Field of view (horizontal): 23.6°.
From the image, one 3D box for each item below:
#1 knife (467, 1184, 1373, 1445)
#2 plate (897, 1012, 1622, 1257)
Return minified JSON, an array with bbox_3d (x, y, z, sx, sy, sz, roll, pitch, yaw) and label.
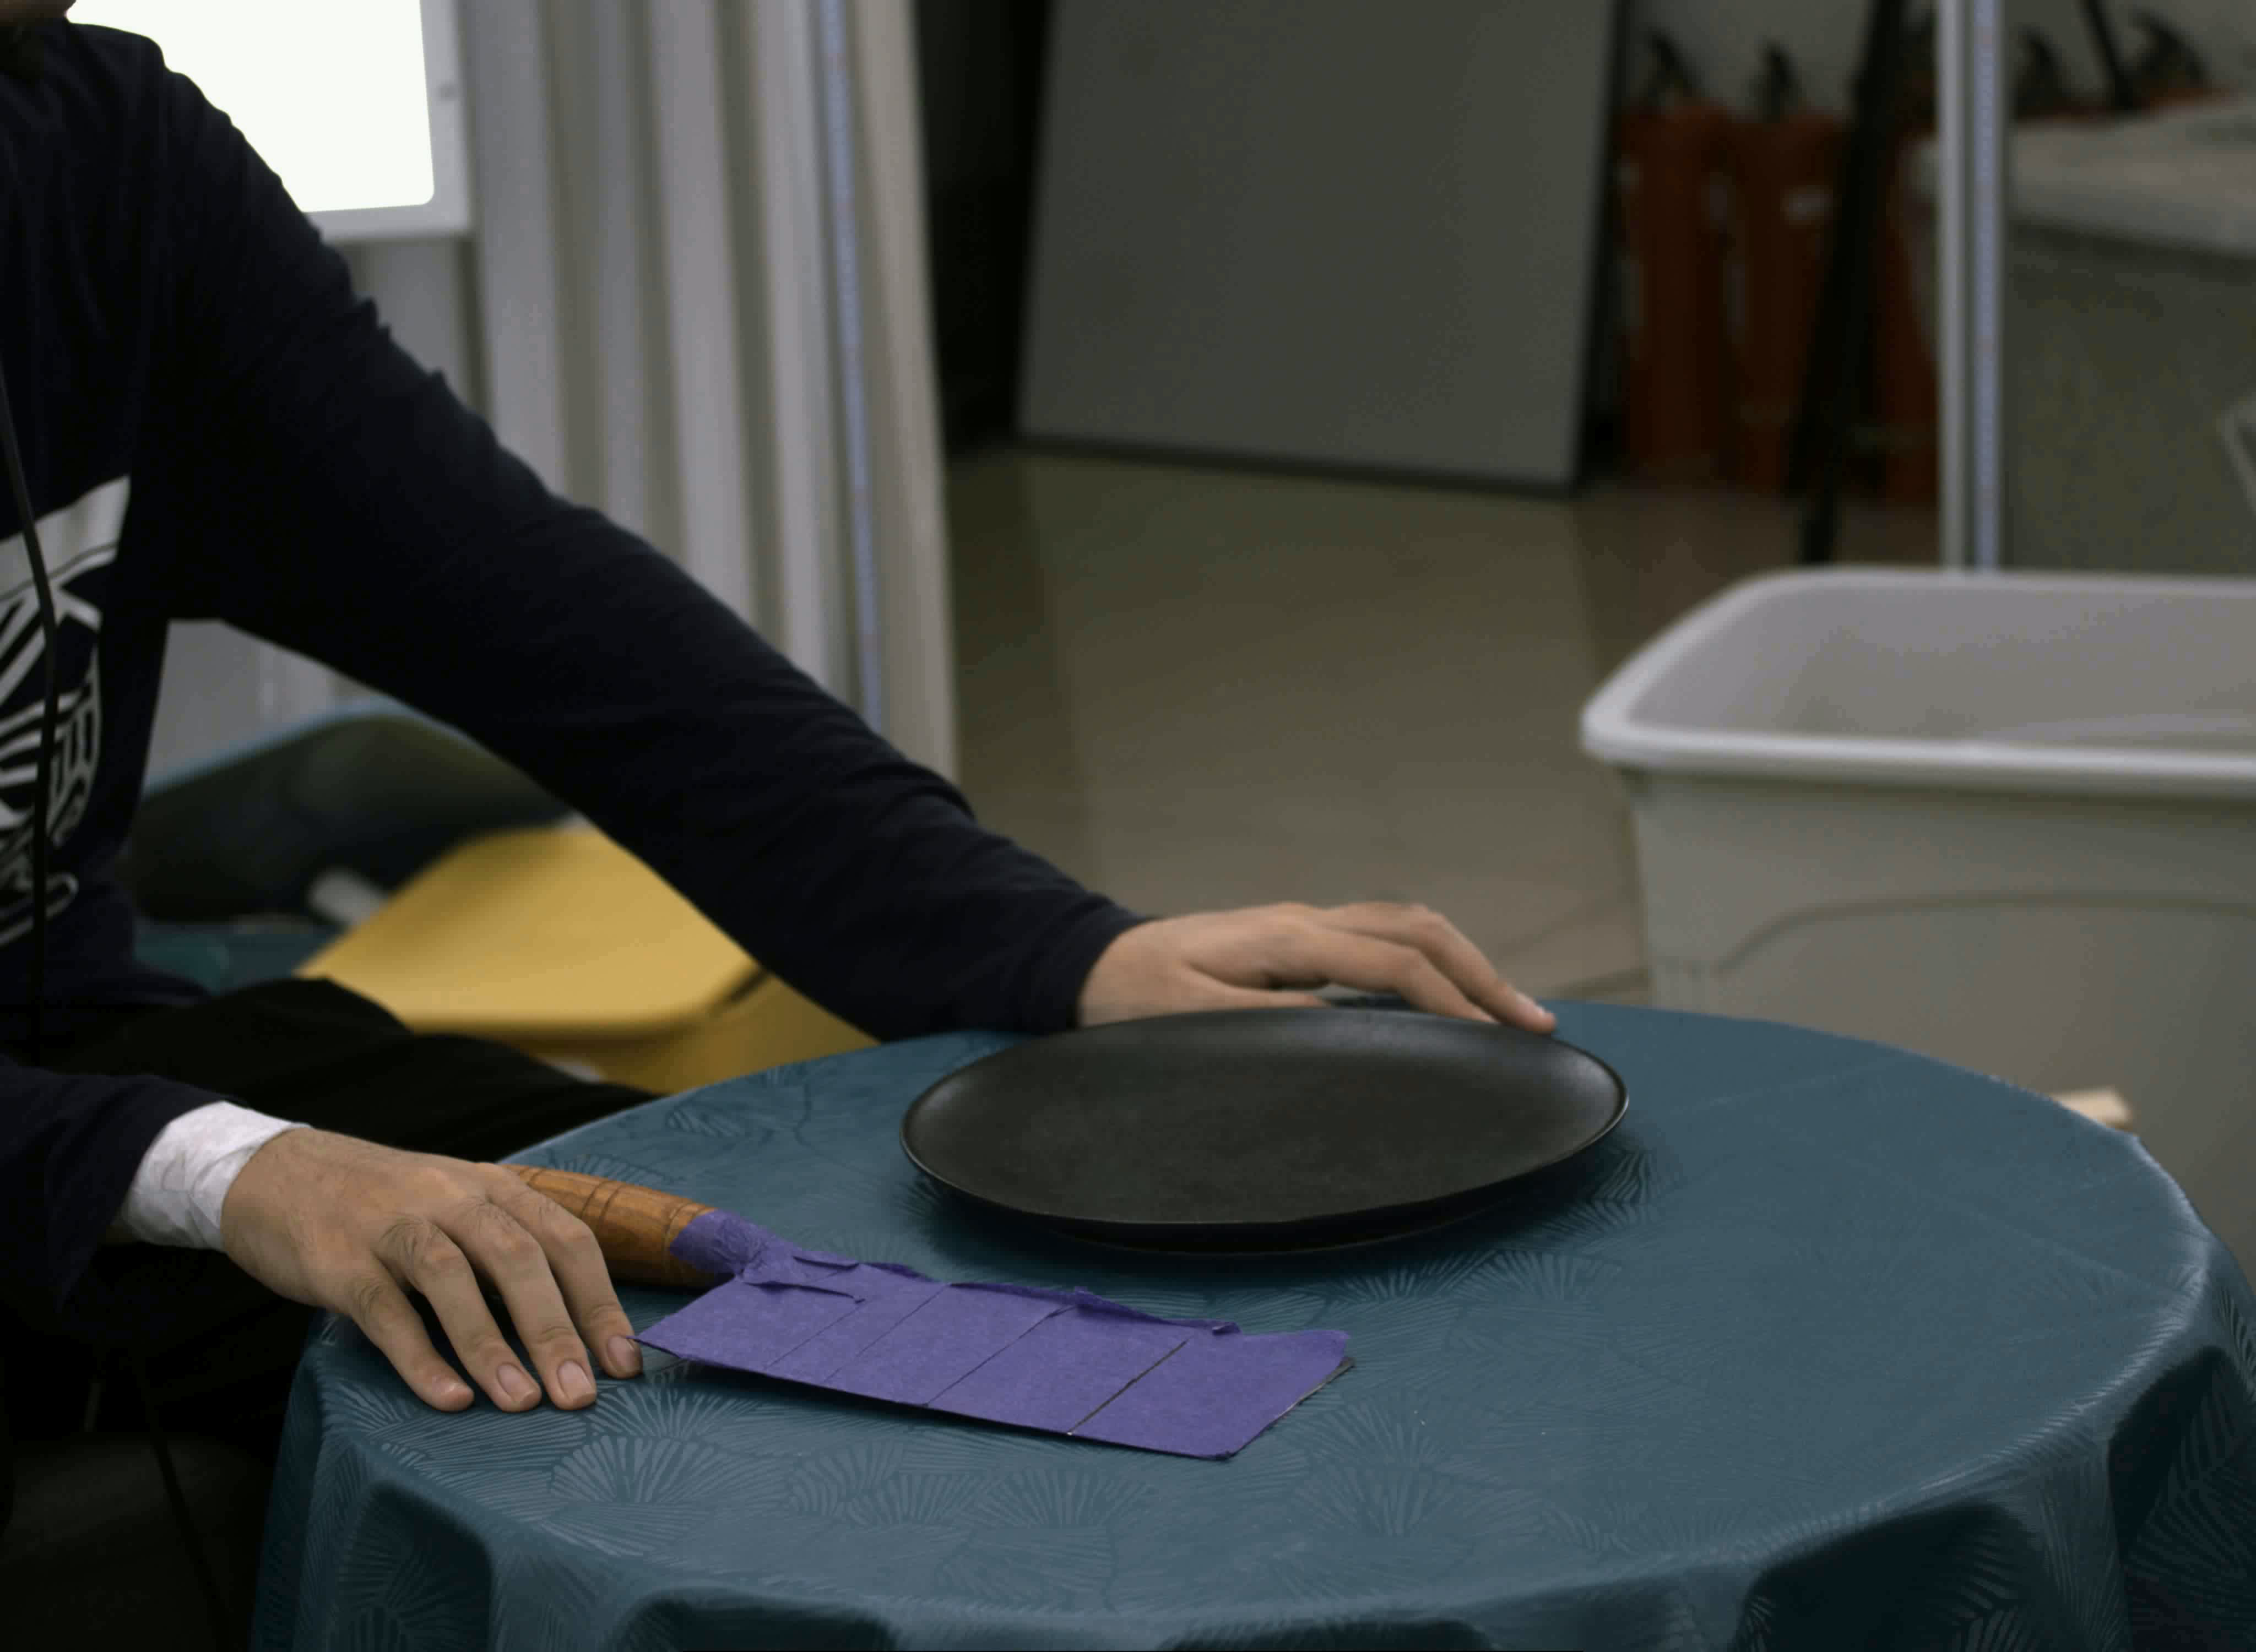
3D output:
[{"bbox_3d":[-0.084,0.147,1.636,0.316,0.032,0.102,4,15,30],"label":"knife"},{"bbox_3d":[0.044,0.104,1.785,0.241,0.024,0.245,-4,13,0],"label":"plate"}]
